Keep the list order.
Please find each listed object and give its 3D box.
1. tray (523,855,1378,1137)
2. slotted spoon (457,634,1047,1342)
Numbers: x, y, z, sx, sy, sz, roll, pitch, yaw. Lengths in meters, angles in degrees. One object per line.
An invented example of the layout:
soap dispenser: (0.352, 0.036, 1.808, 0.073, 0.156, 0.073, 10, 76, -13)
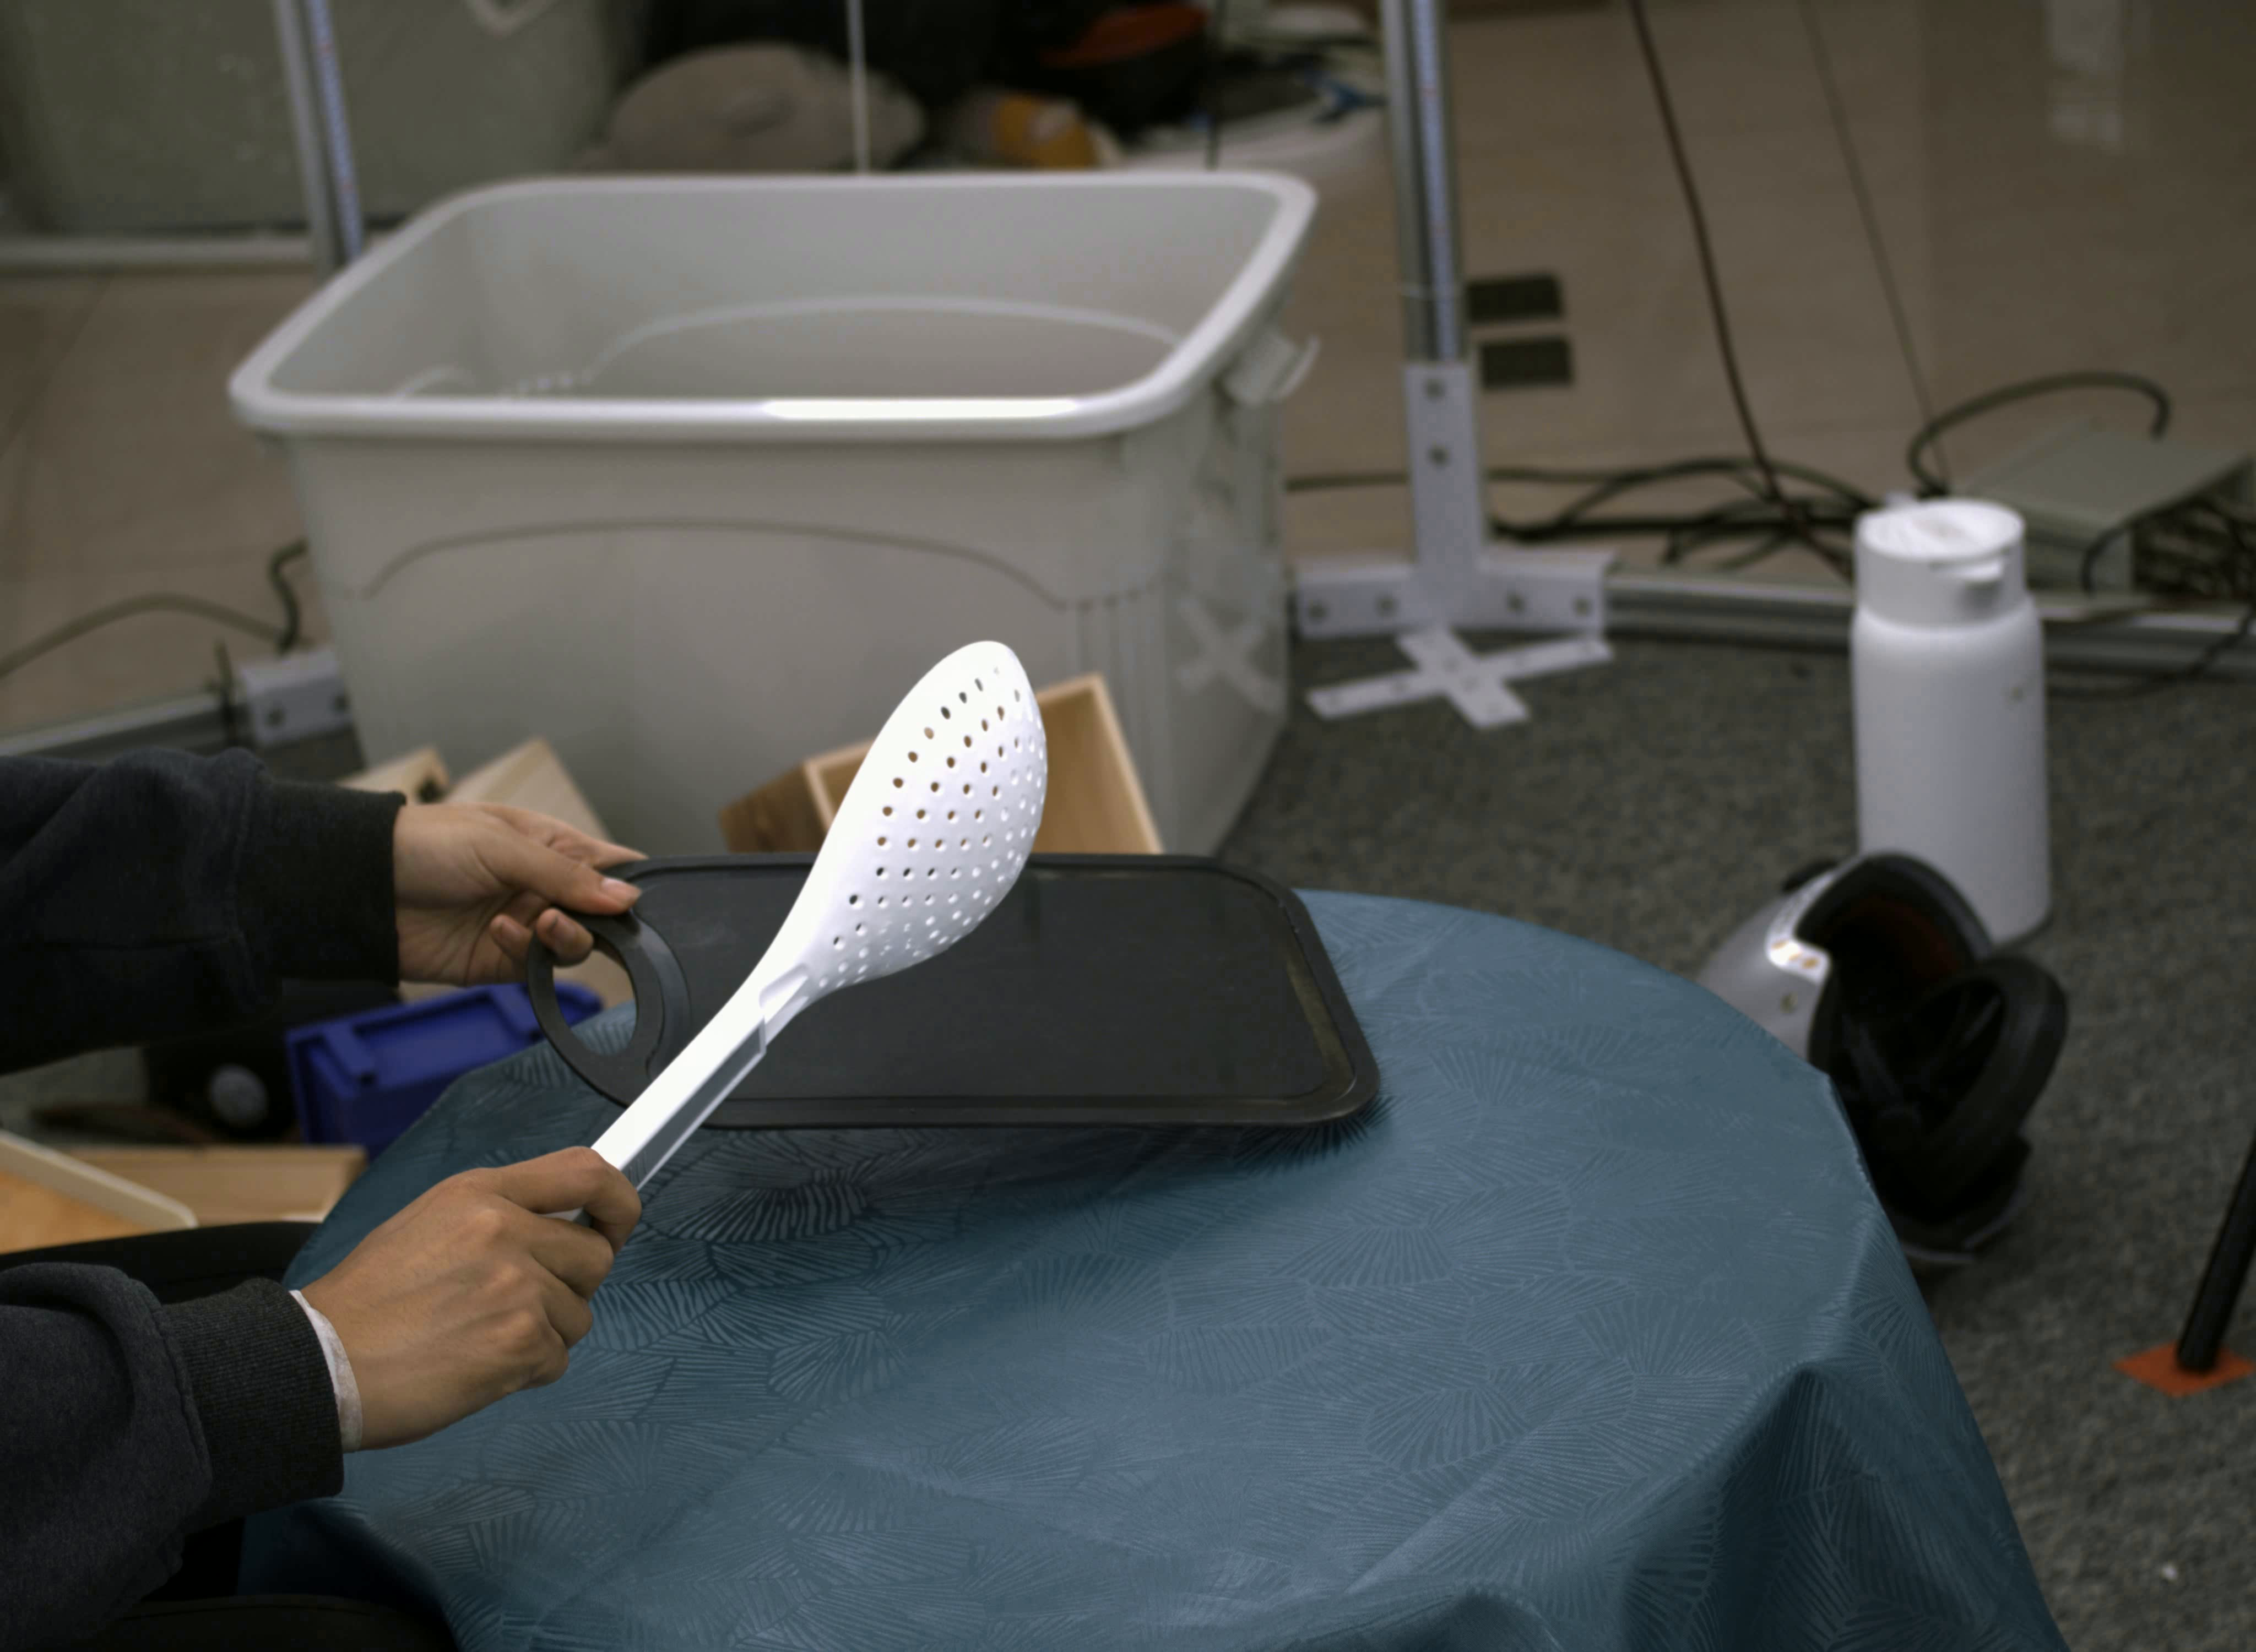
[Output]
tray: (-0.072, 0.063, 2.210, 0.325, 0.010, 0.207, 0, 29, -13)
slotted spoon: (-0.129, 0.061, 2.036, 0.045, 0.139, 0.346, 30, 55, 25)
